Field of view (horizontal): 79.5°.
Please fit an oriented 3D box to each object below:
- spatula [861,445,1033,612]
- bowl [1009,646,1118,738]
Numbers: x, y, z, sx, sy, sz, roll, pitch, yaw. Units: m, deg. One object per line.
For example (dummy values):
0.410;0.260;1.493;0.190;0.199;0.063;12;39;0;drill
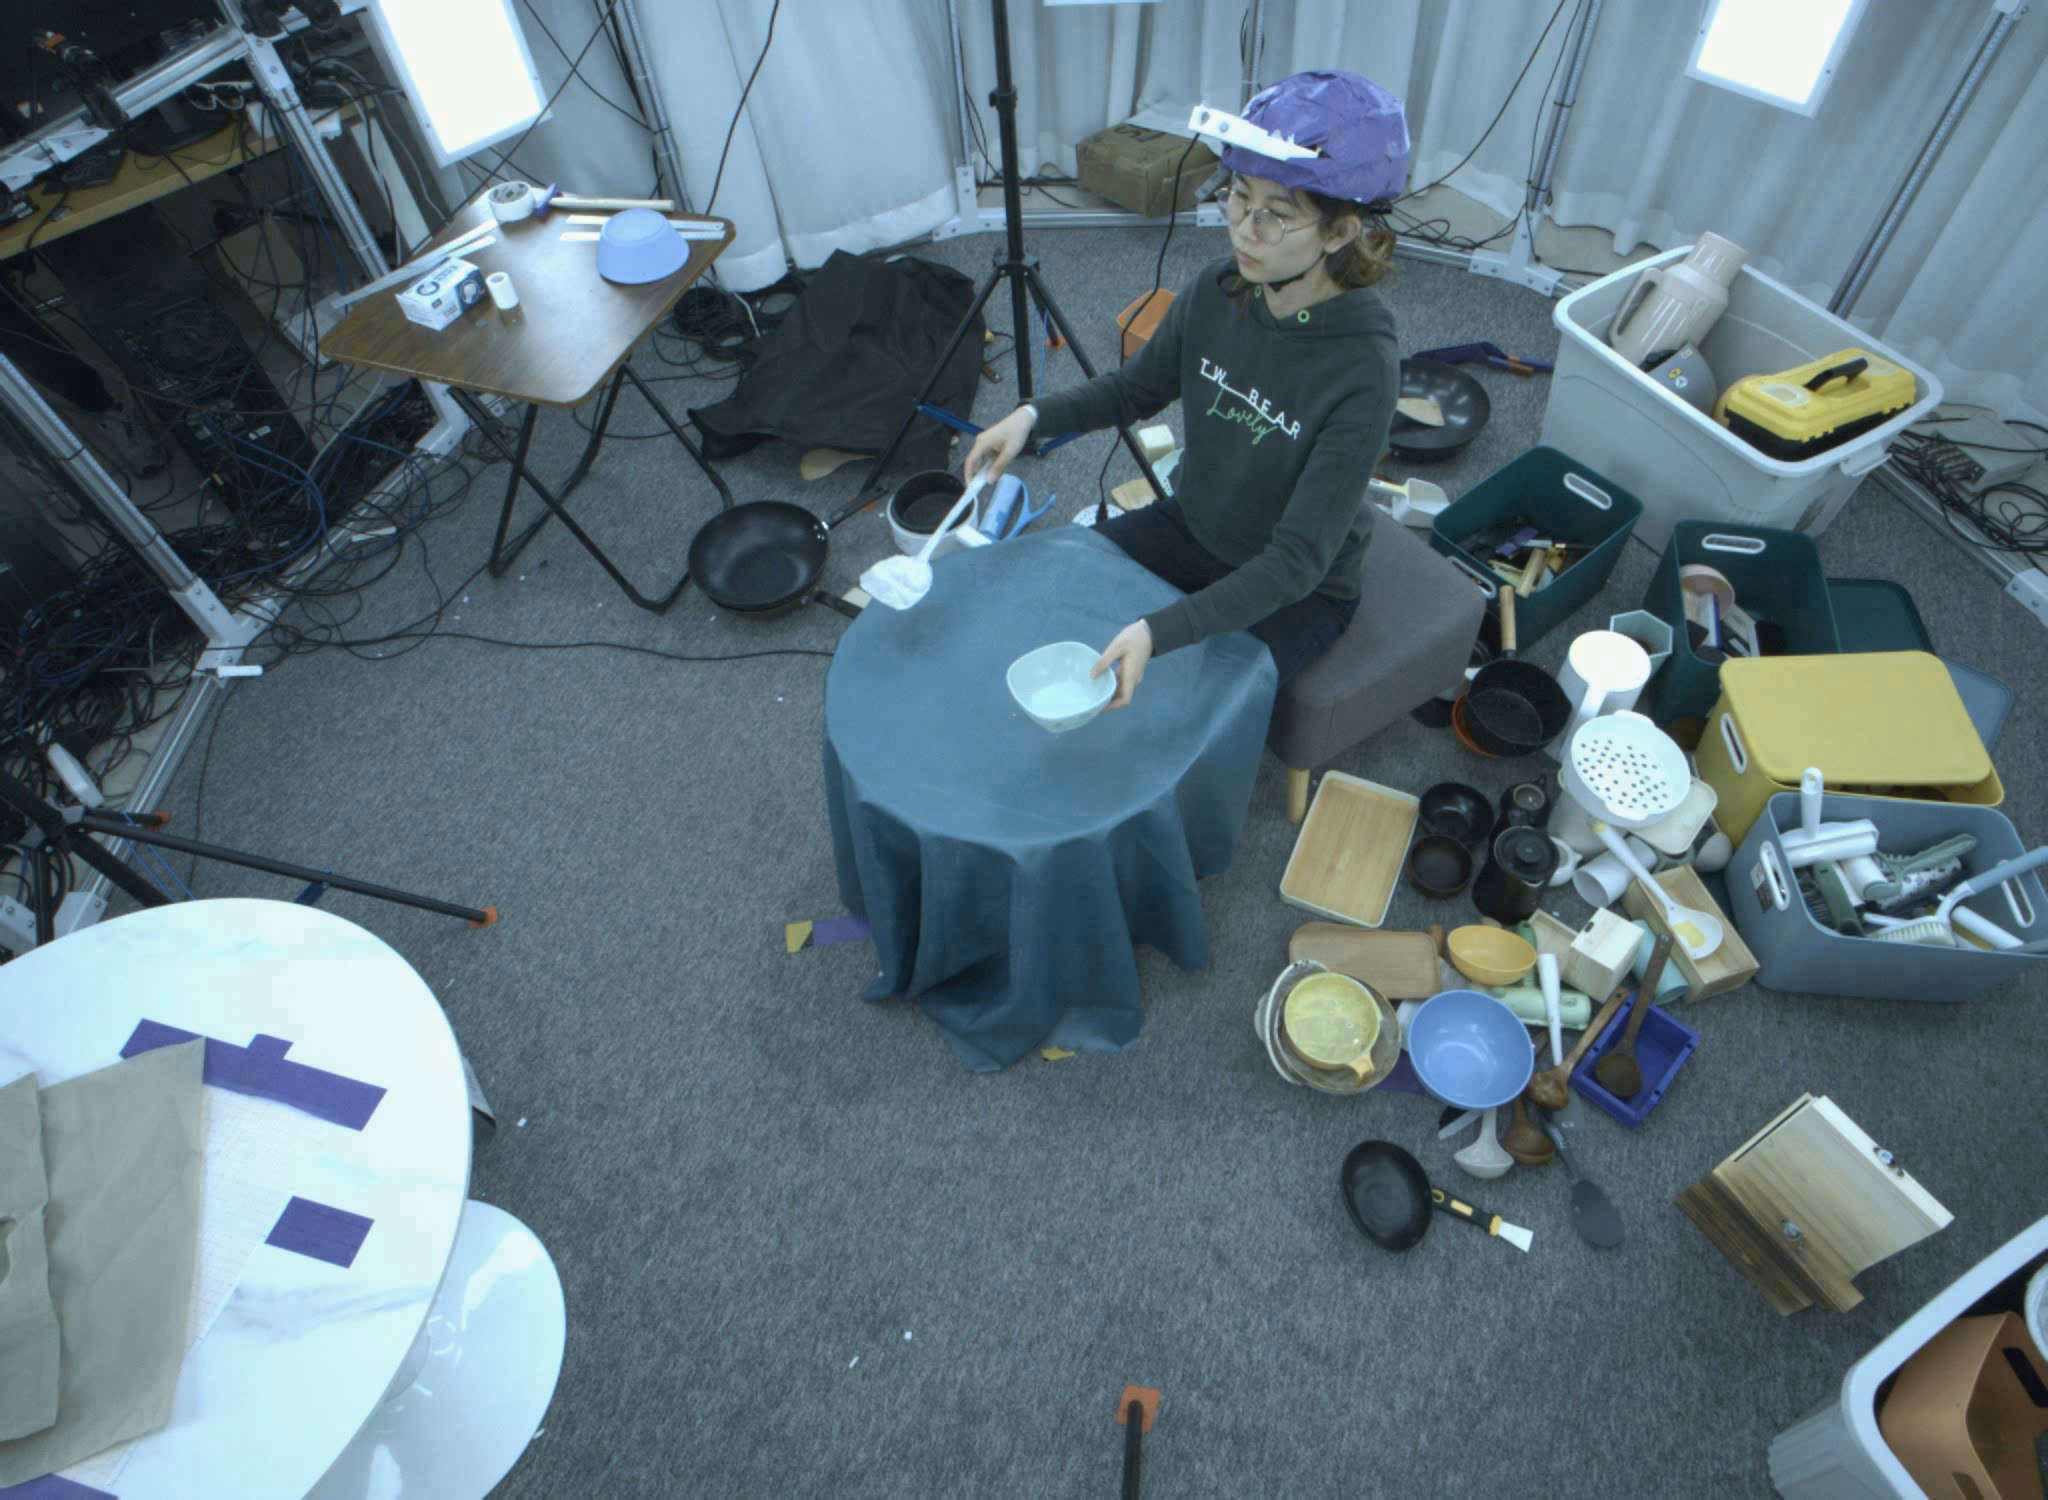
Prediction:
-0.108;-0.357;1.882;0.097;0.045;0.365;34;79;16;spatula
0.055;-0.071;1.695;0.151;0.059;0.150;0;50;1;bowl
